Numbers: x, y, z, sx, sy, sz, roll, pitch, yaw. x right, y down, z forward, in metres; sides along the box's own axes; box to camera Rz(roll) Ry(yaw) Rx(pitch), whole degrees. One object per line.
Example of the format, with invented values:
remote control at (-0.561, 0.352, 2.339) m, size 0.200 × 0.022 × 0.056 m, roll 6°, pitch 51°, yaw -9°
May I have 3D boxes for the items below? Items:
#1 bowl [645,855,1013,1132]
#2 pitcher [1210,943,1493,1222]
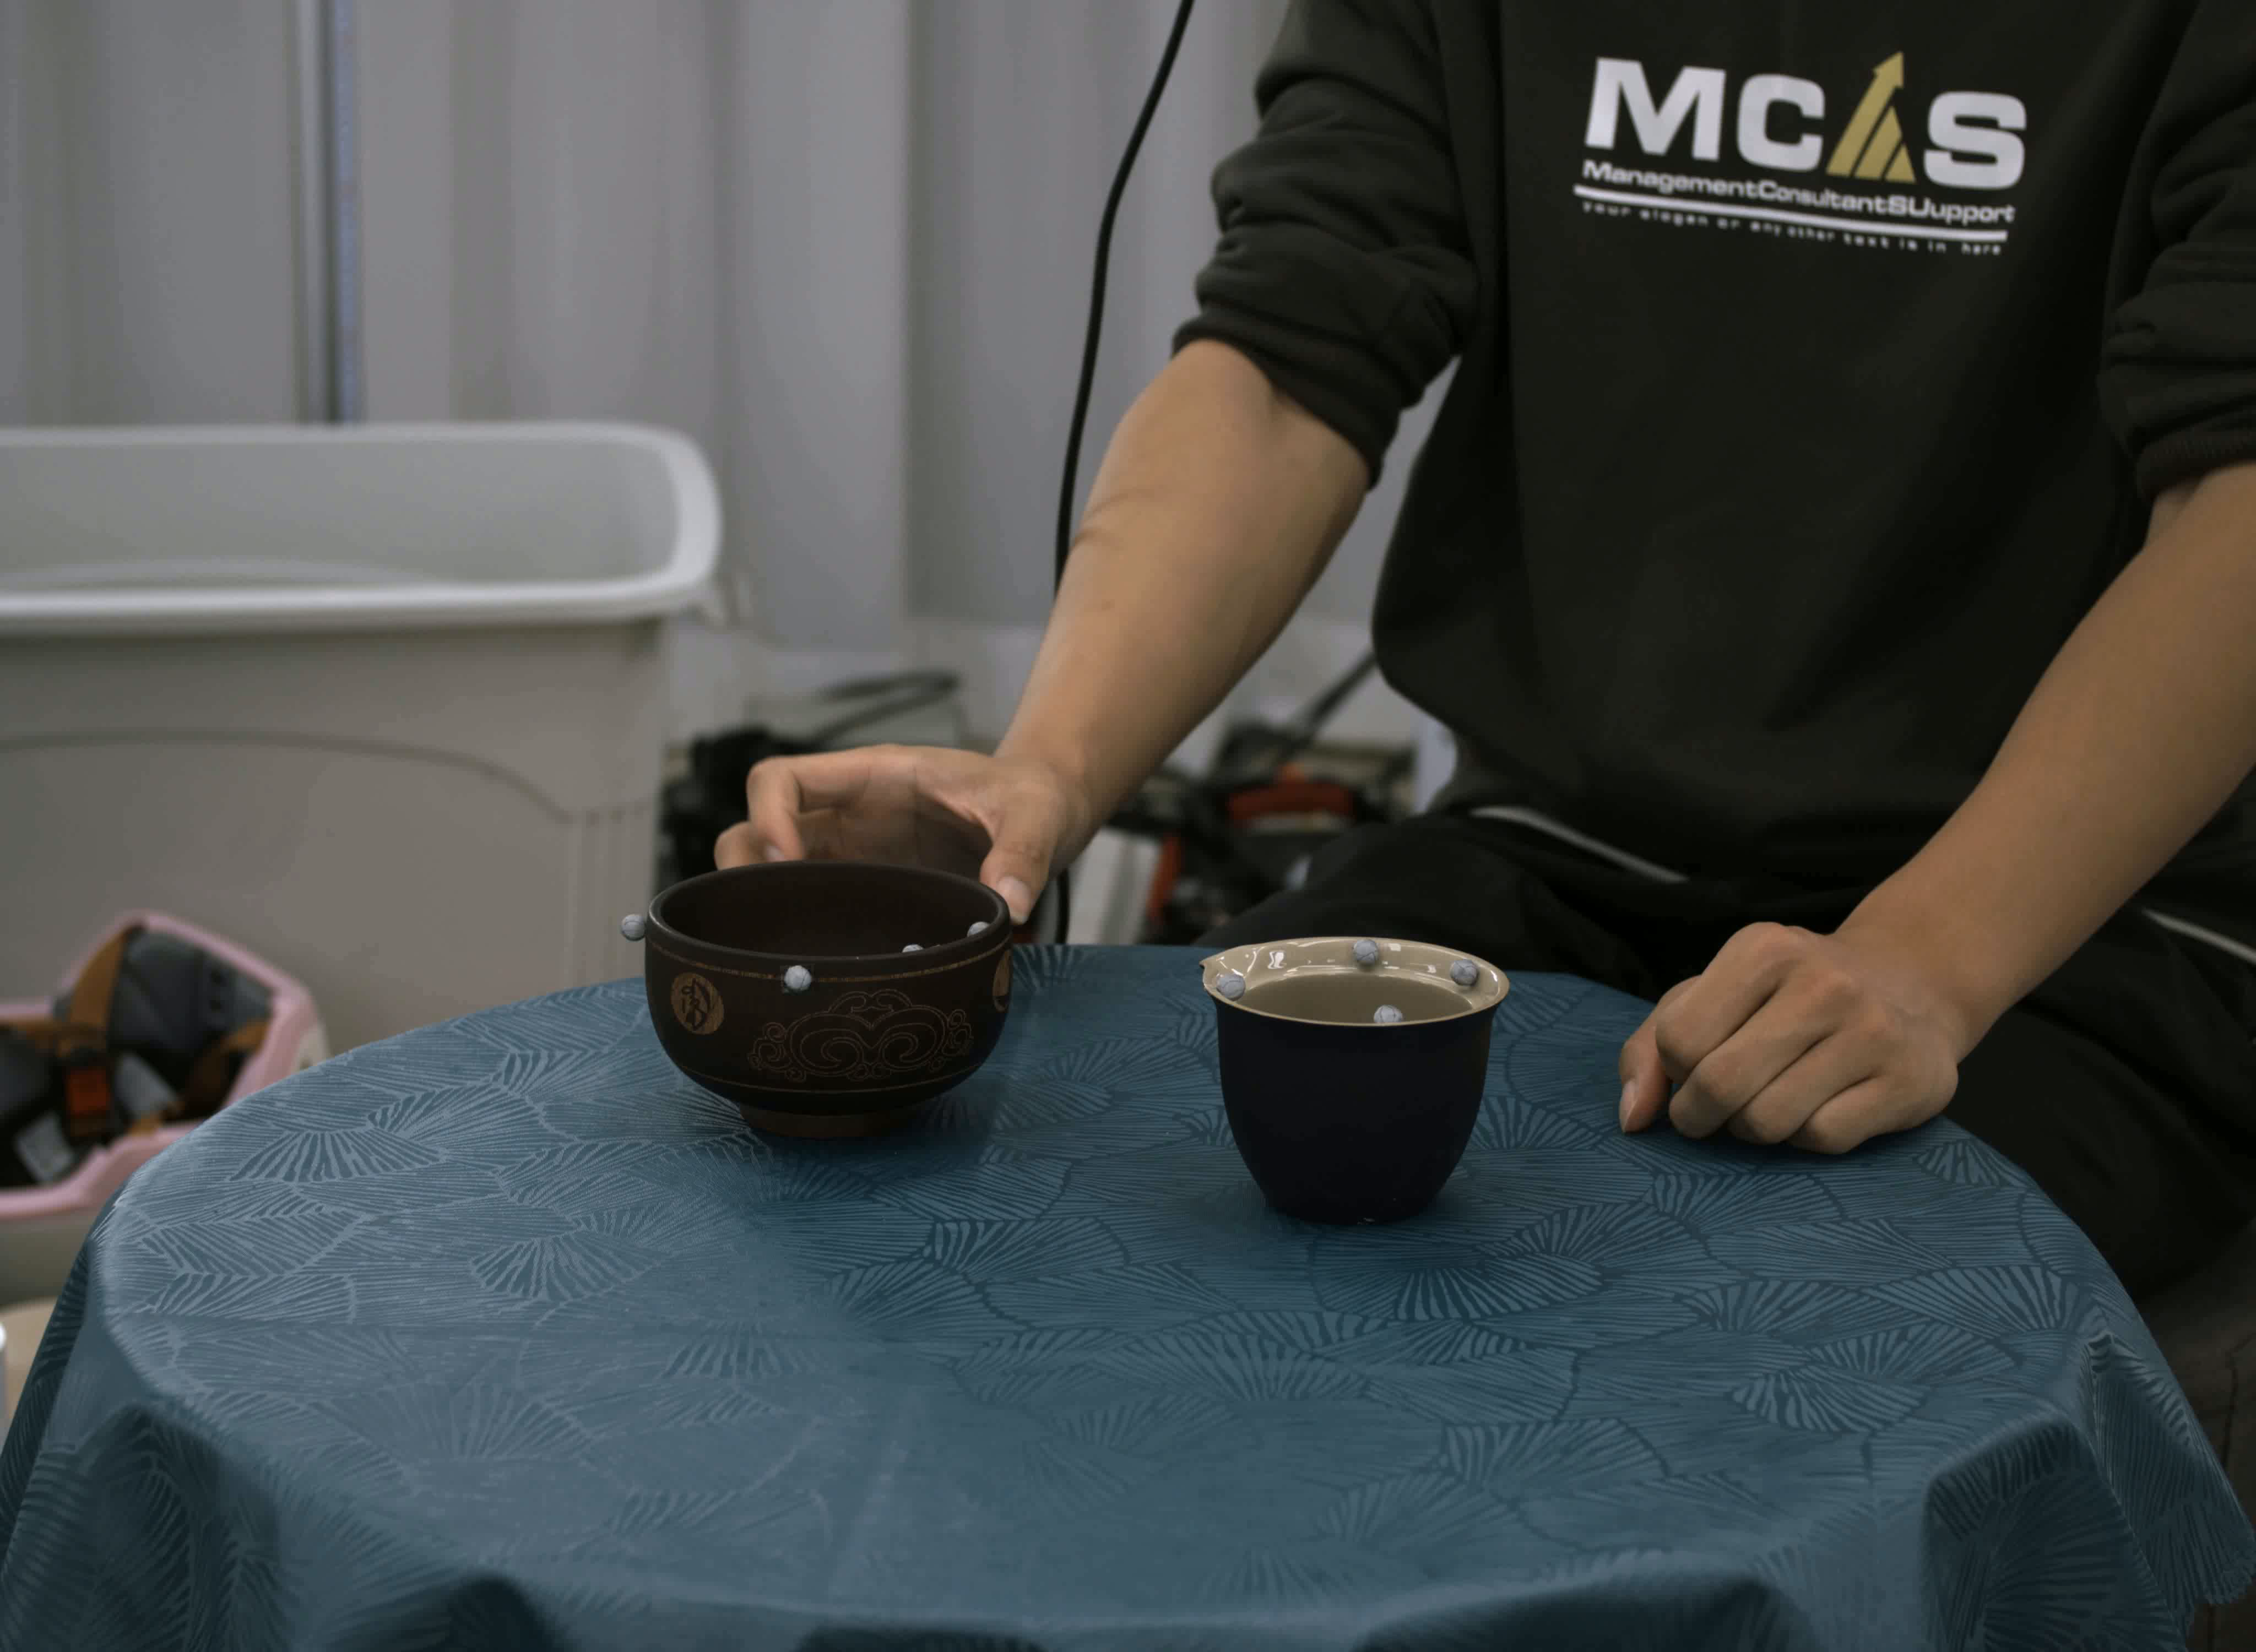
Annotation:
bowl at (-0.096, 0.057, 1.688) m, size 0.117 × 0.070 × 0.117 m, roll 2°, pitch 15°, yaw 0°
pitcher at (0.065, 0.079, 1.615) m, size 0.095 × 0.072 × 0.084 m, roll 14°, pitch 21°, yaw 37°
